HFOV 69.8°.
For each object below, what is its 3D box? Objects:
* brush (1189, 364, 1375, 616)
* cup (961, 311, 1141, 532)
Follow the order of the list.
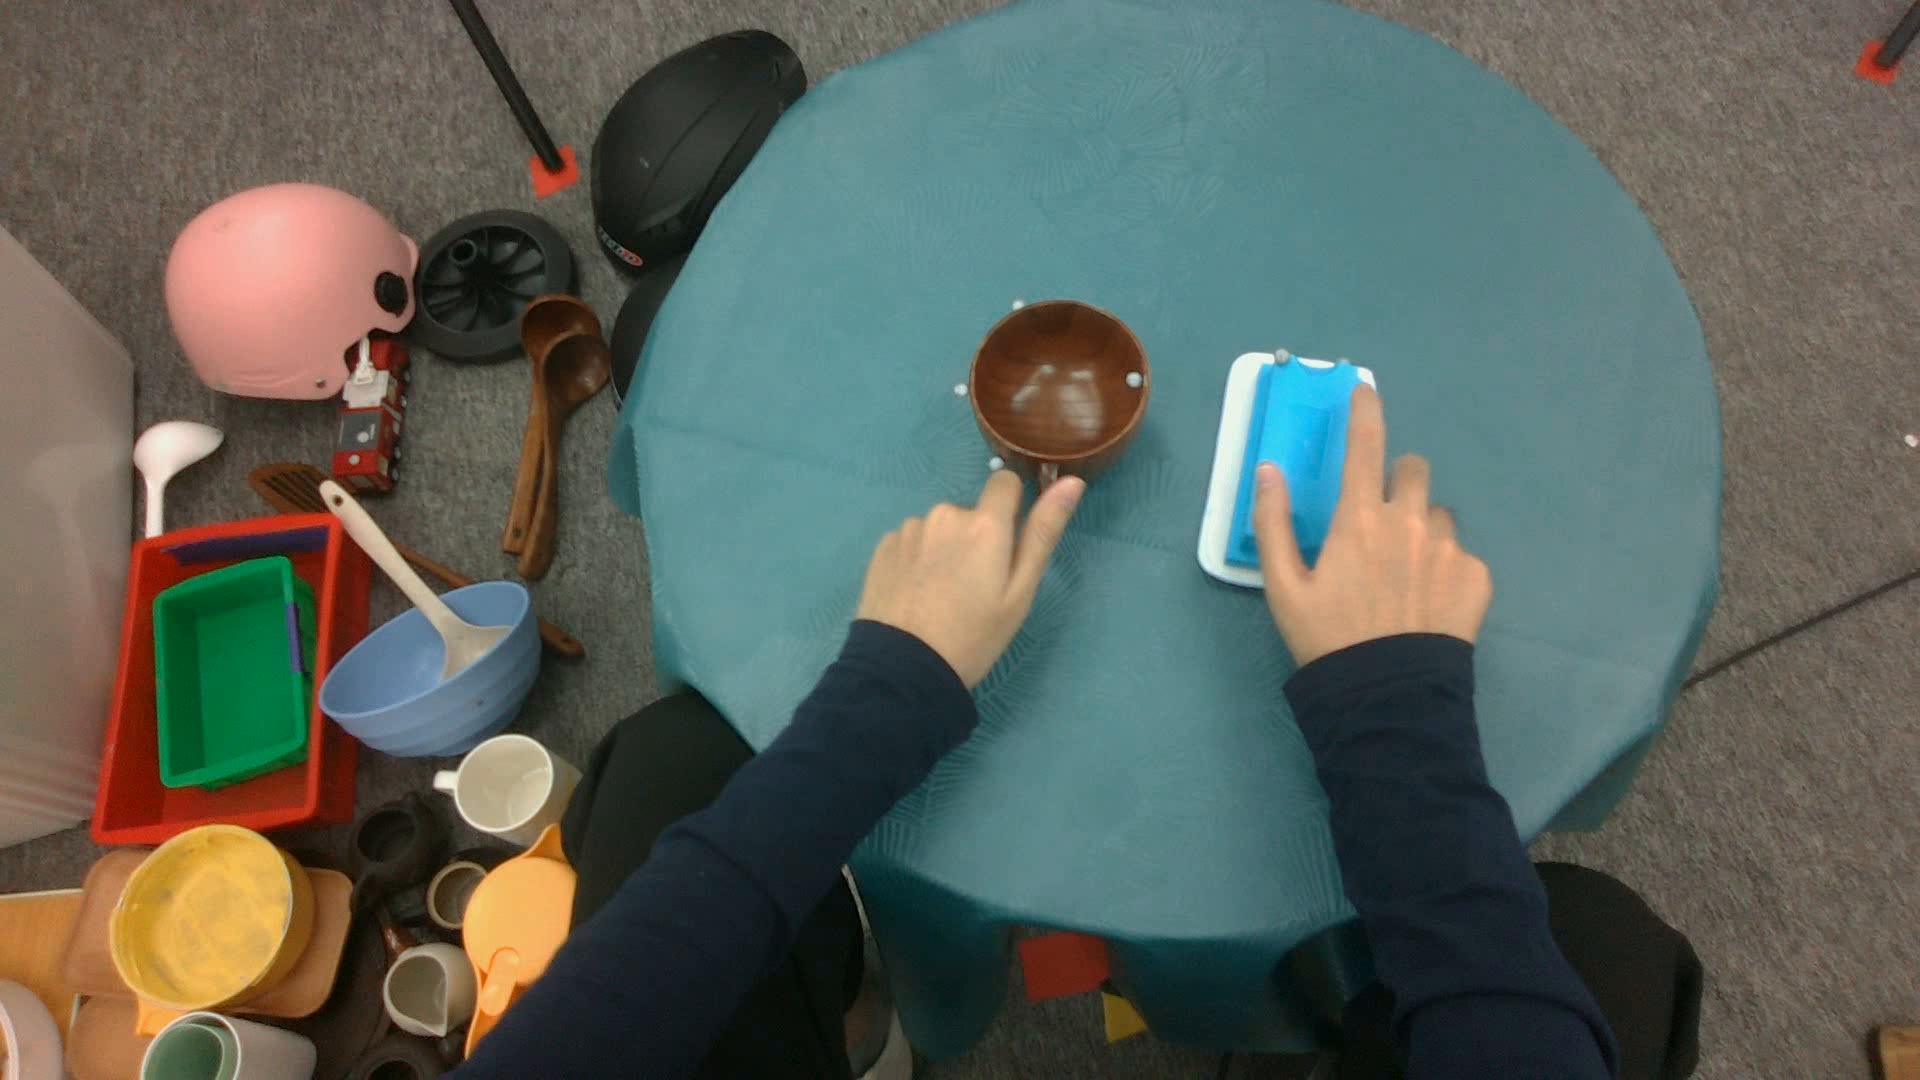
[{"bbox_3d":[0.173,-0.034,0.732,0.084,0.056,0.144,11,66,13],"label":"brush"},{"bbox_3d":[0.047,-0.057,0.750,0.096,0.067,0.120,4,70,2],"label":"cup"}]
